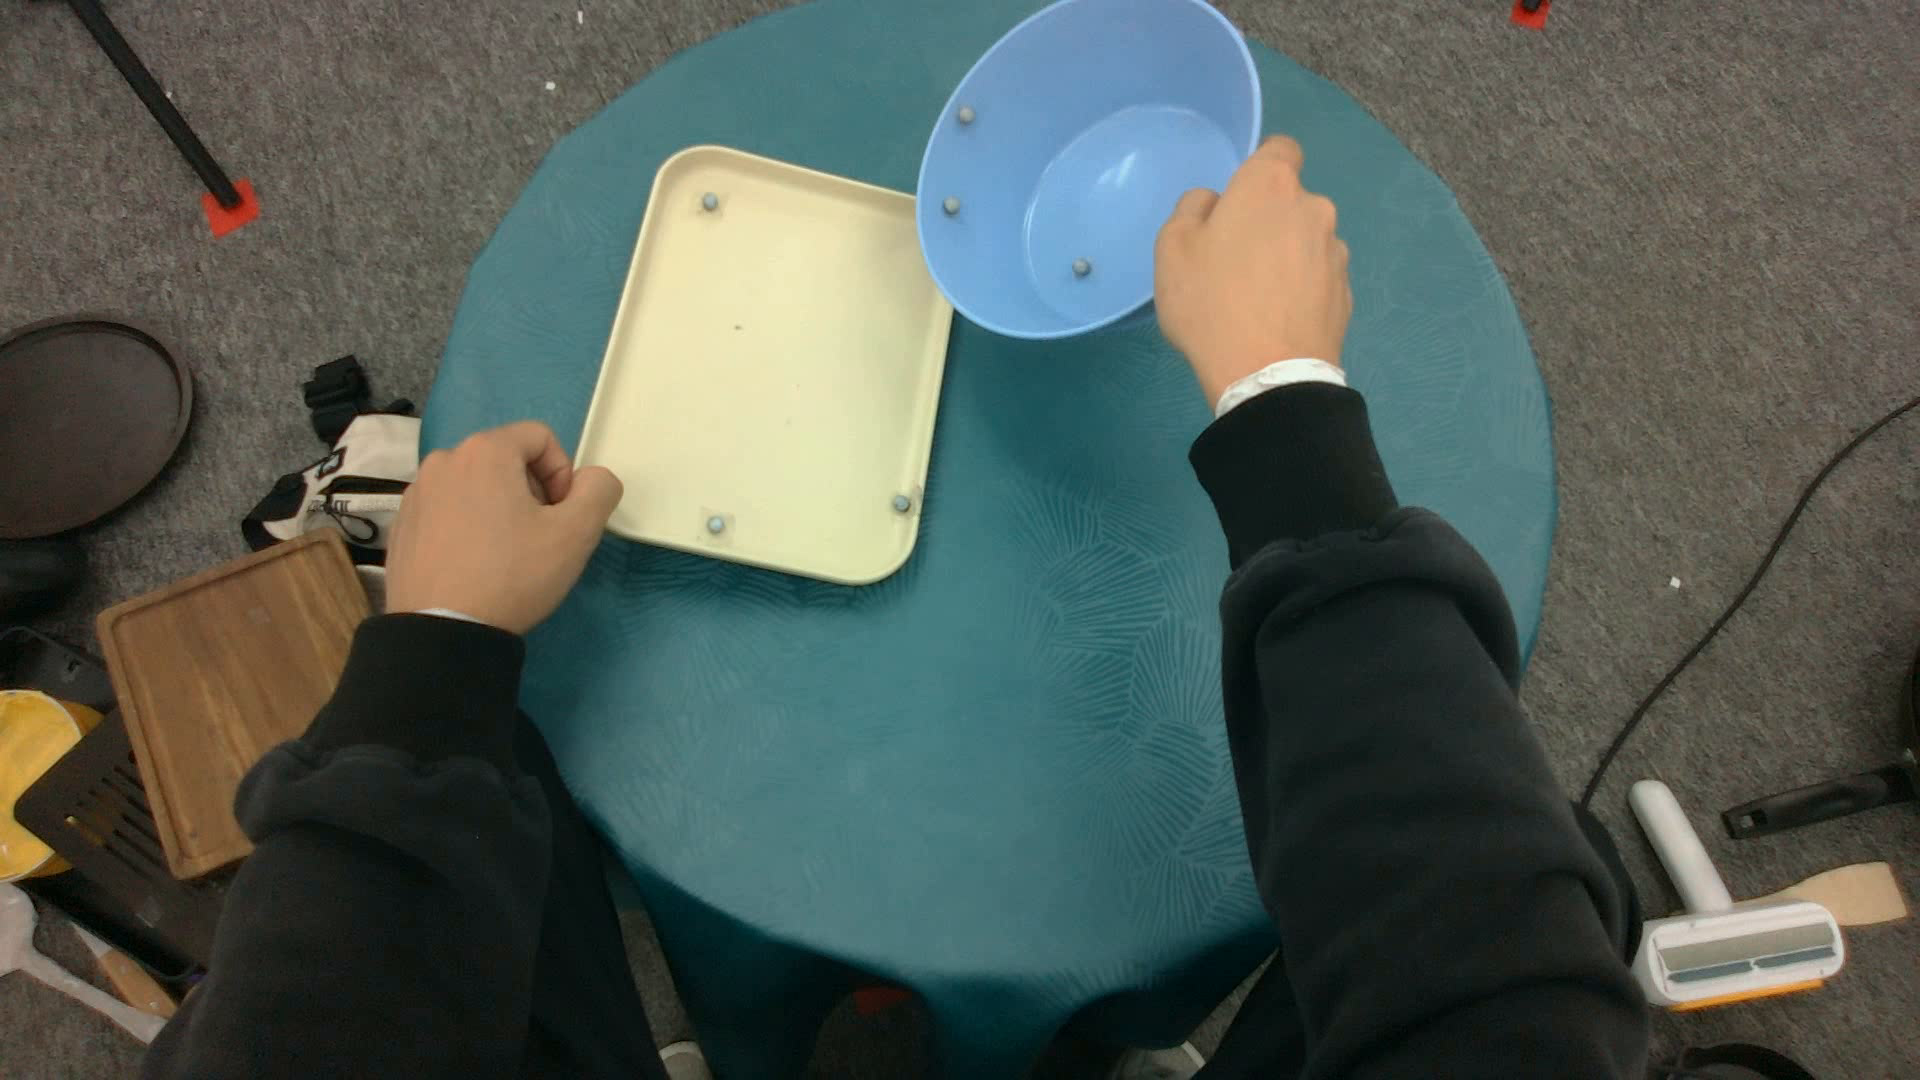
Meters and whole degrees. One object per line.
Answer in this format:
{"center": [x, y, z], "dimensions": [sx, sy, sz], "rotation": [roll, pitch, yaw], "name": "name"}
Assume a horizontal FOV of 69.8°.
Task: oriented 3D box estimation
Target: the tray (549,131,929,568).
{"center": [-0.106, -0.103, 0.717], "dimensions": [0.171, 0.017, 0.240], "rotation": [12, 64, -9], "name": "tray"}

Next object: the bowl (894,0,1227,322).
{"center": [0.057, -0.178, 0.662], "dimensions": [0.175, 0.070, 0.176], "rotation": [-9, 72, 31], "name": "bowl"}
